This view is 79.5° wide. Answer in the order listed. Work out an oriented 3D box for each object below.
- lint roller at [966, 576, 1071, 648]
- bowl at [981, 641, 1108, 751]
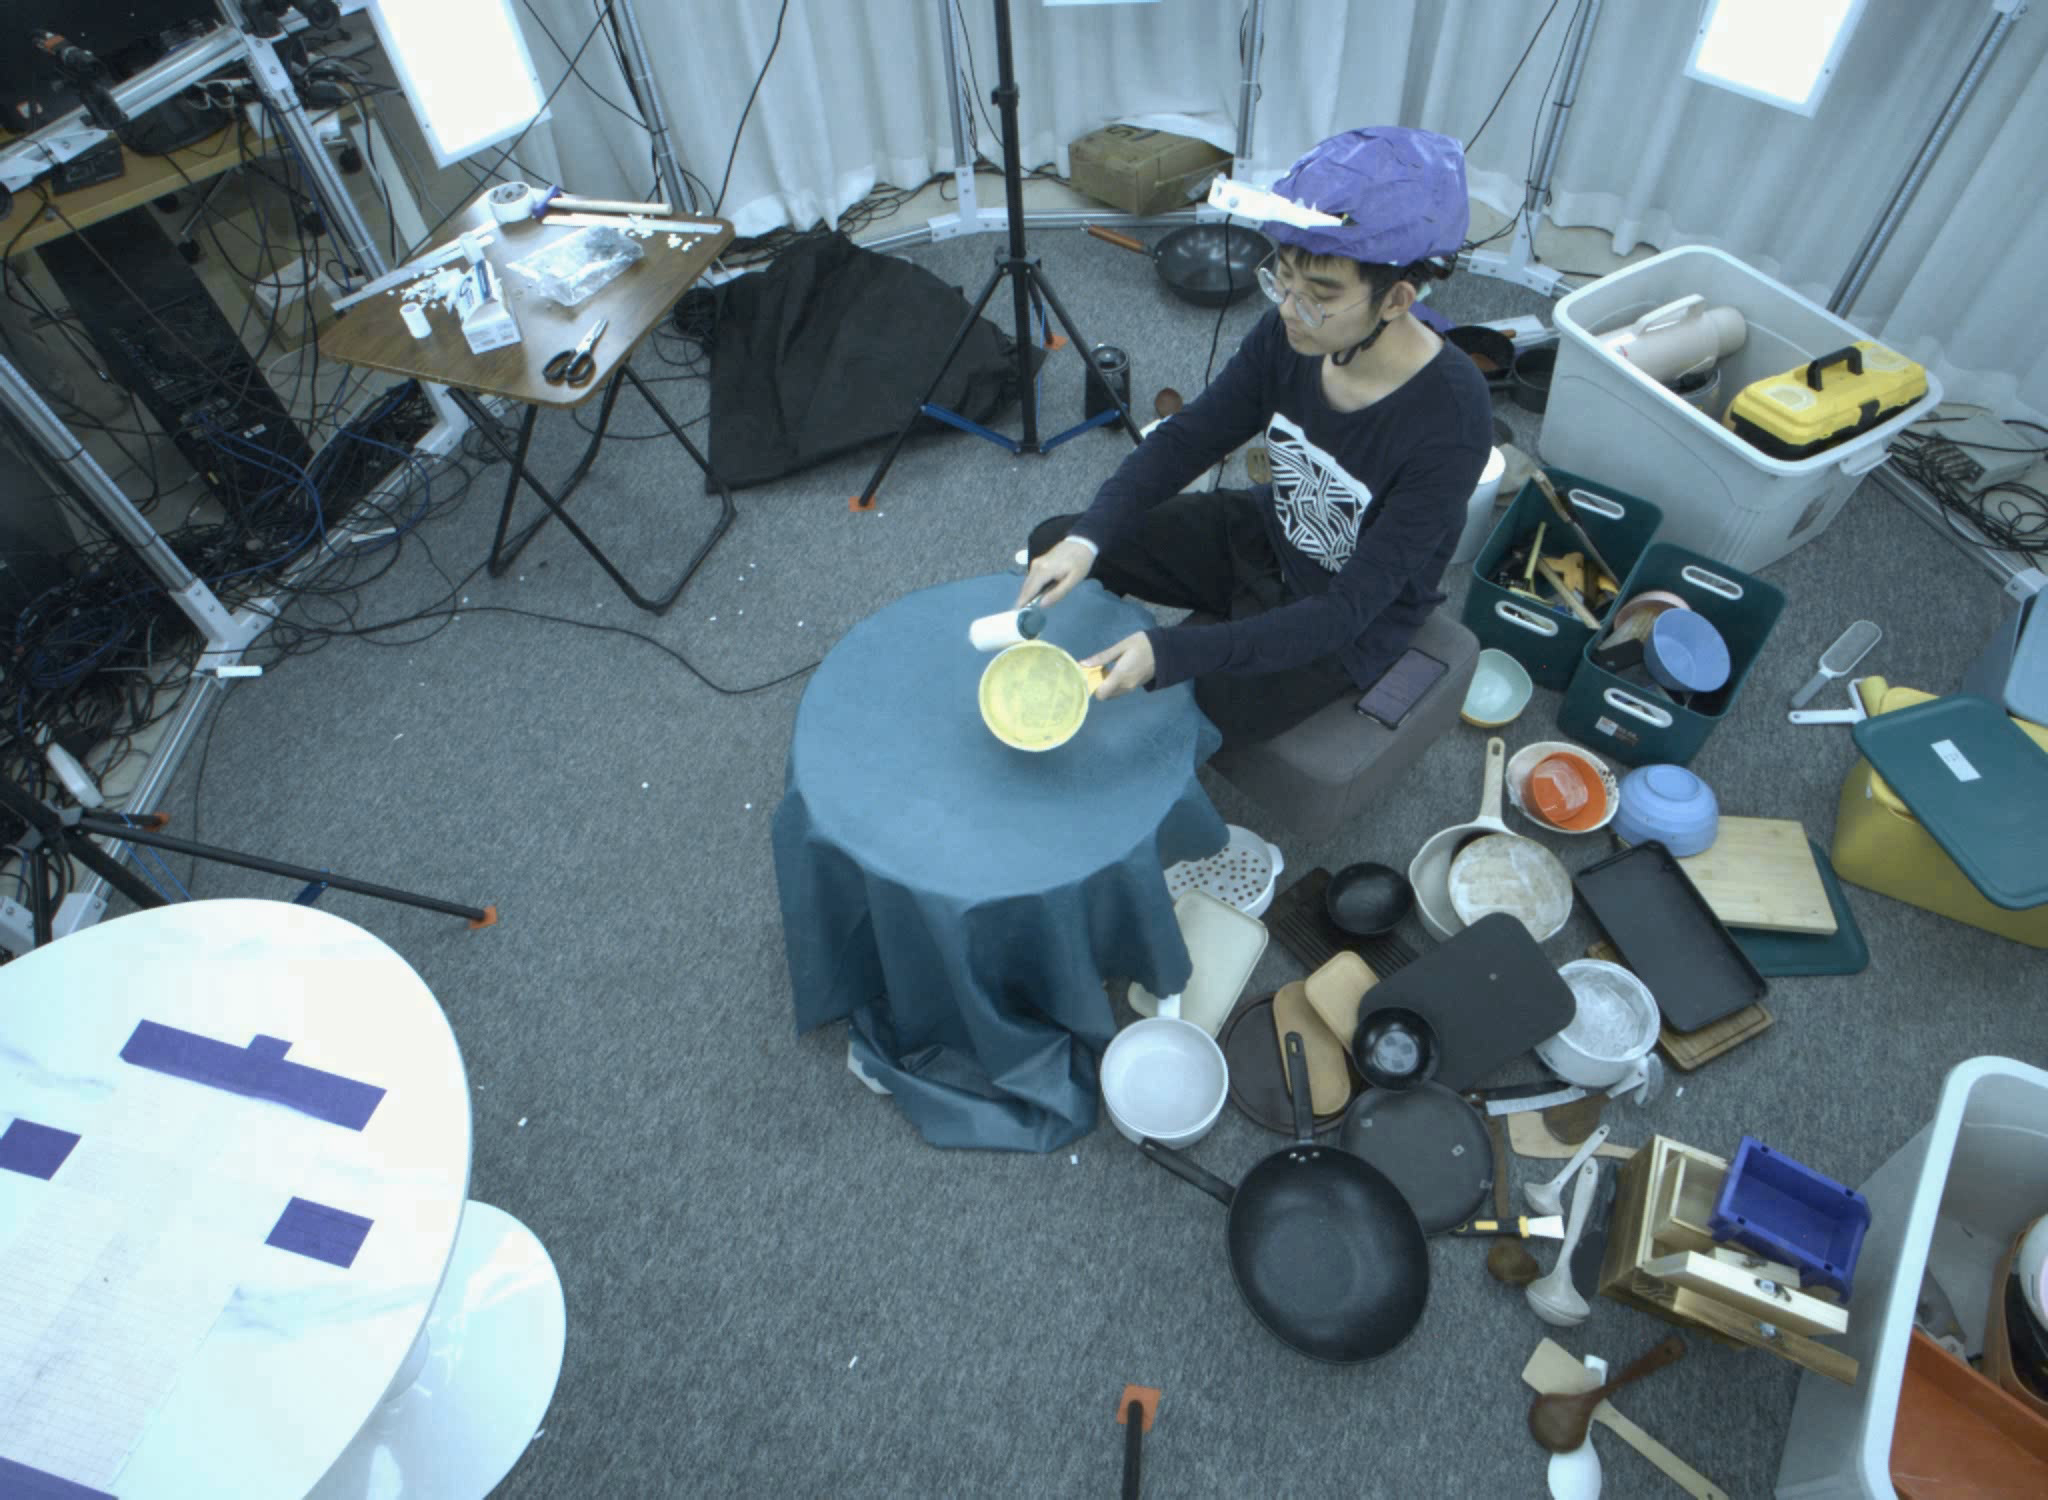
[{"bbox_3d":[0.007,-0.215,1.761,0.131,0.049,0.181,-3,38,46],"label":"lint roller"},{"bbox_3d":[0.031,-0.084,1.731,0.178,0.074,0.154,-23,99,8],"label":"bowl"}]
